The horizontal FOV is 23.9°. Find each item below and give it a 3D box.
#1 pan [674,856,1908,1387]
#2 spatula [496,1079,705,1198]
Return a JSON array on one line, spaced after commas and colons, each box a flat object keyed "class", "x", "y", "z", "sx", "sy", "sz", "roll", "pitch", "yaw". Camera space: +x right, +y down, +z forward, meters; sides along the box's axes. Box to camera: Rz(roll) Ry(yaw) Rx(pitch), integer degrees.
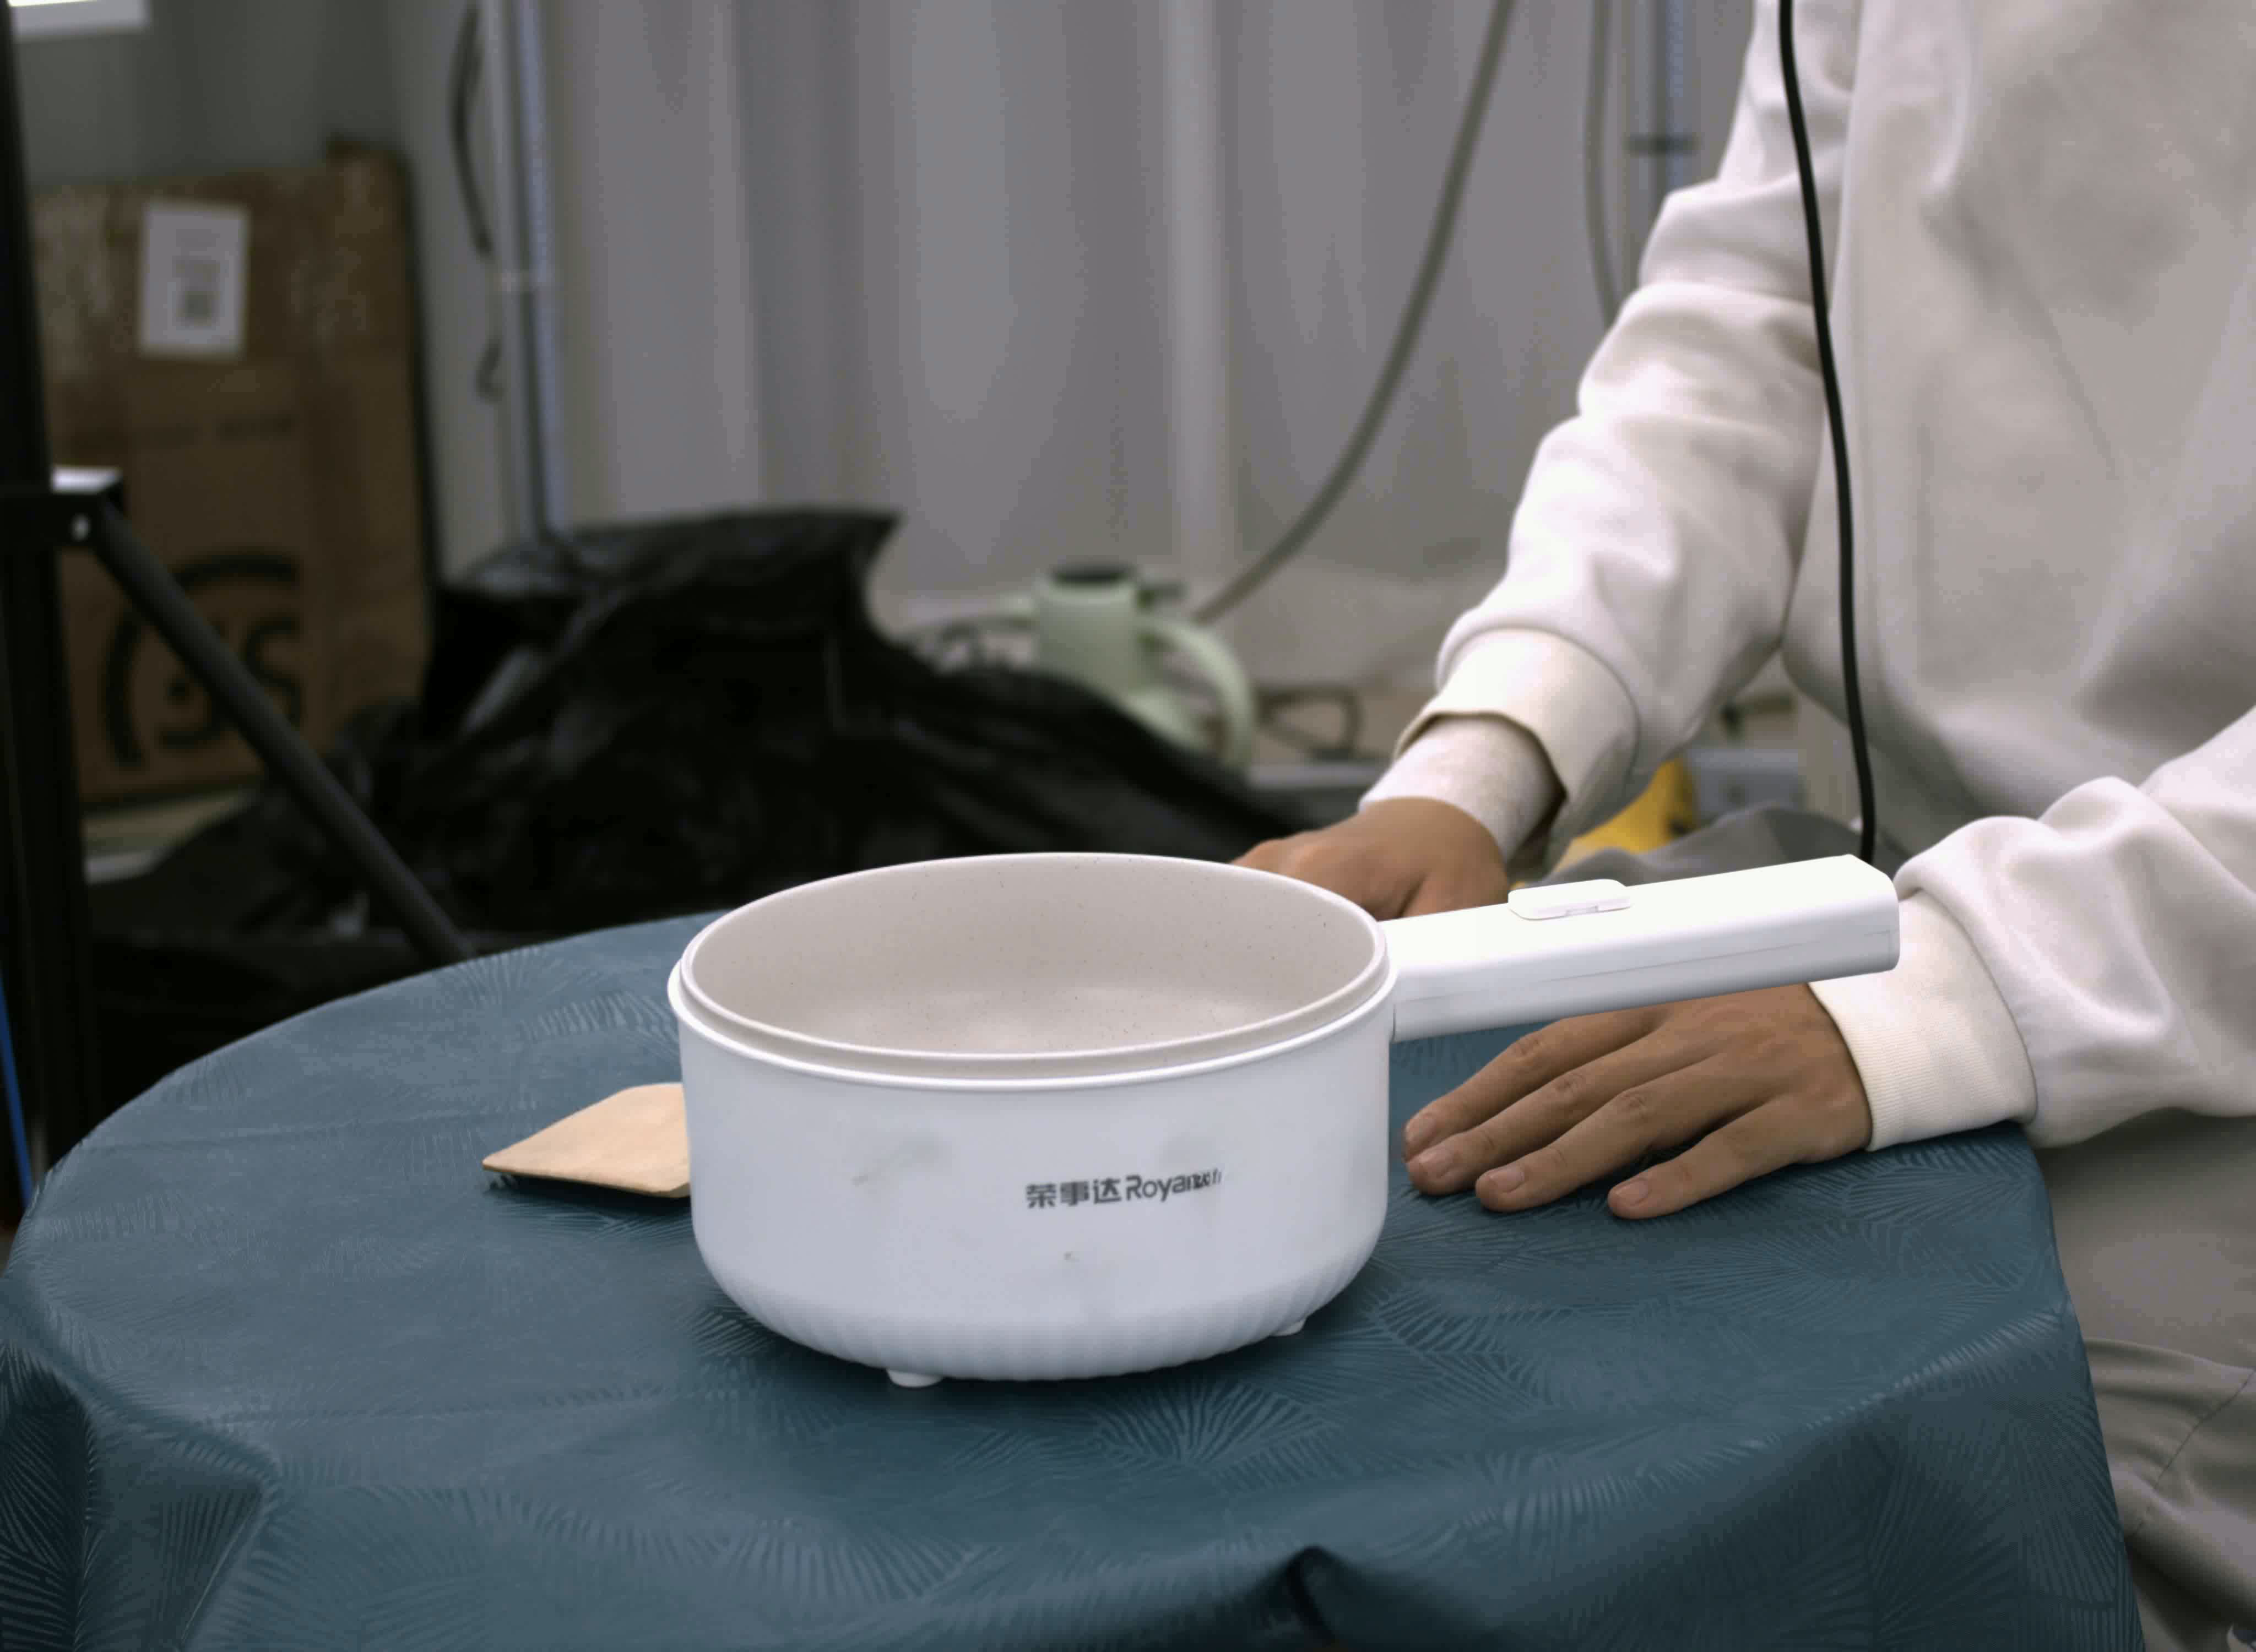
[{"class": "pan", "x": 0.049, "y": 0.075, "z": 1.489, "sx": 0.349, "sy": 0.102, "sz": 0.204, "roll": -6, "pitch": 15, "yaw": -15}, {"class": "spatula", "x": -0.094, "y": 0.070, "z": 1.694, "sx": 0.073, "sy": 0.010, "sz": 0.288, "roll": 5, "pitch": 17, "yaw": 28}]
